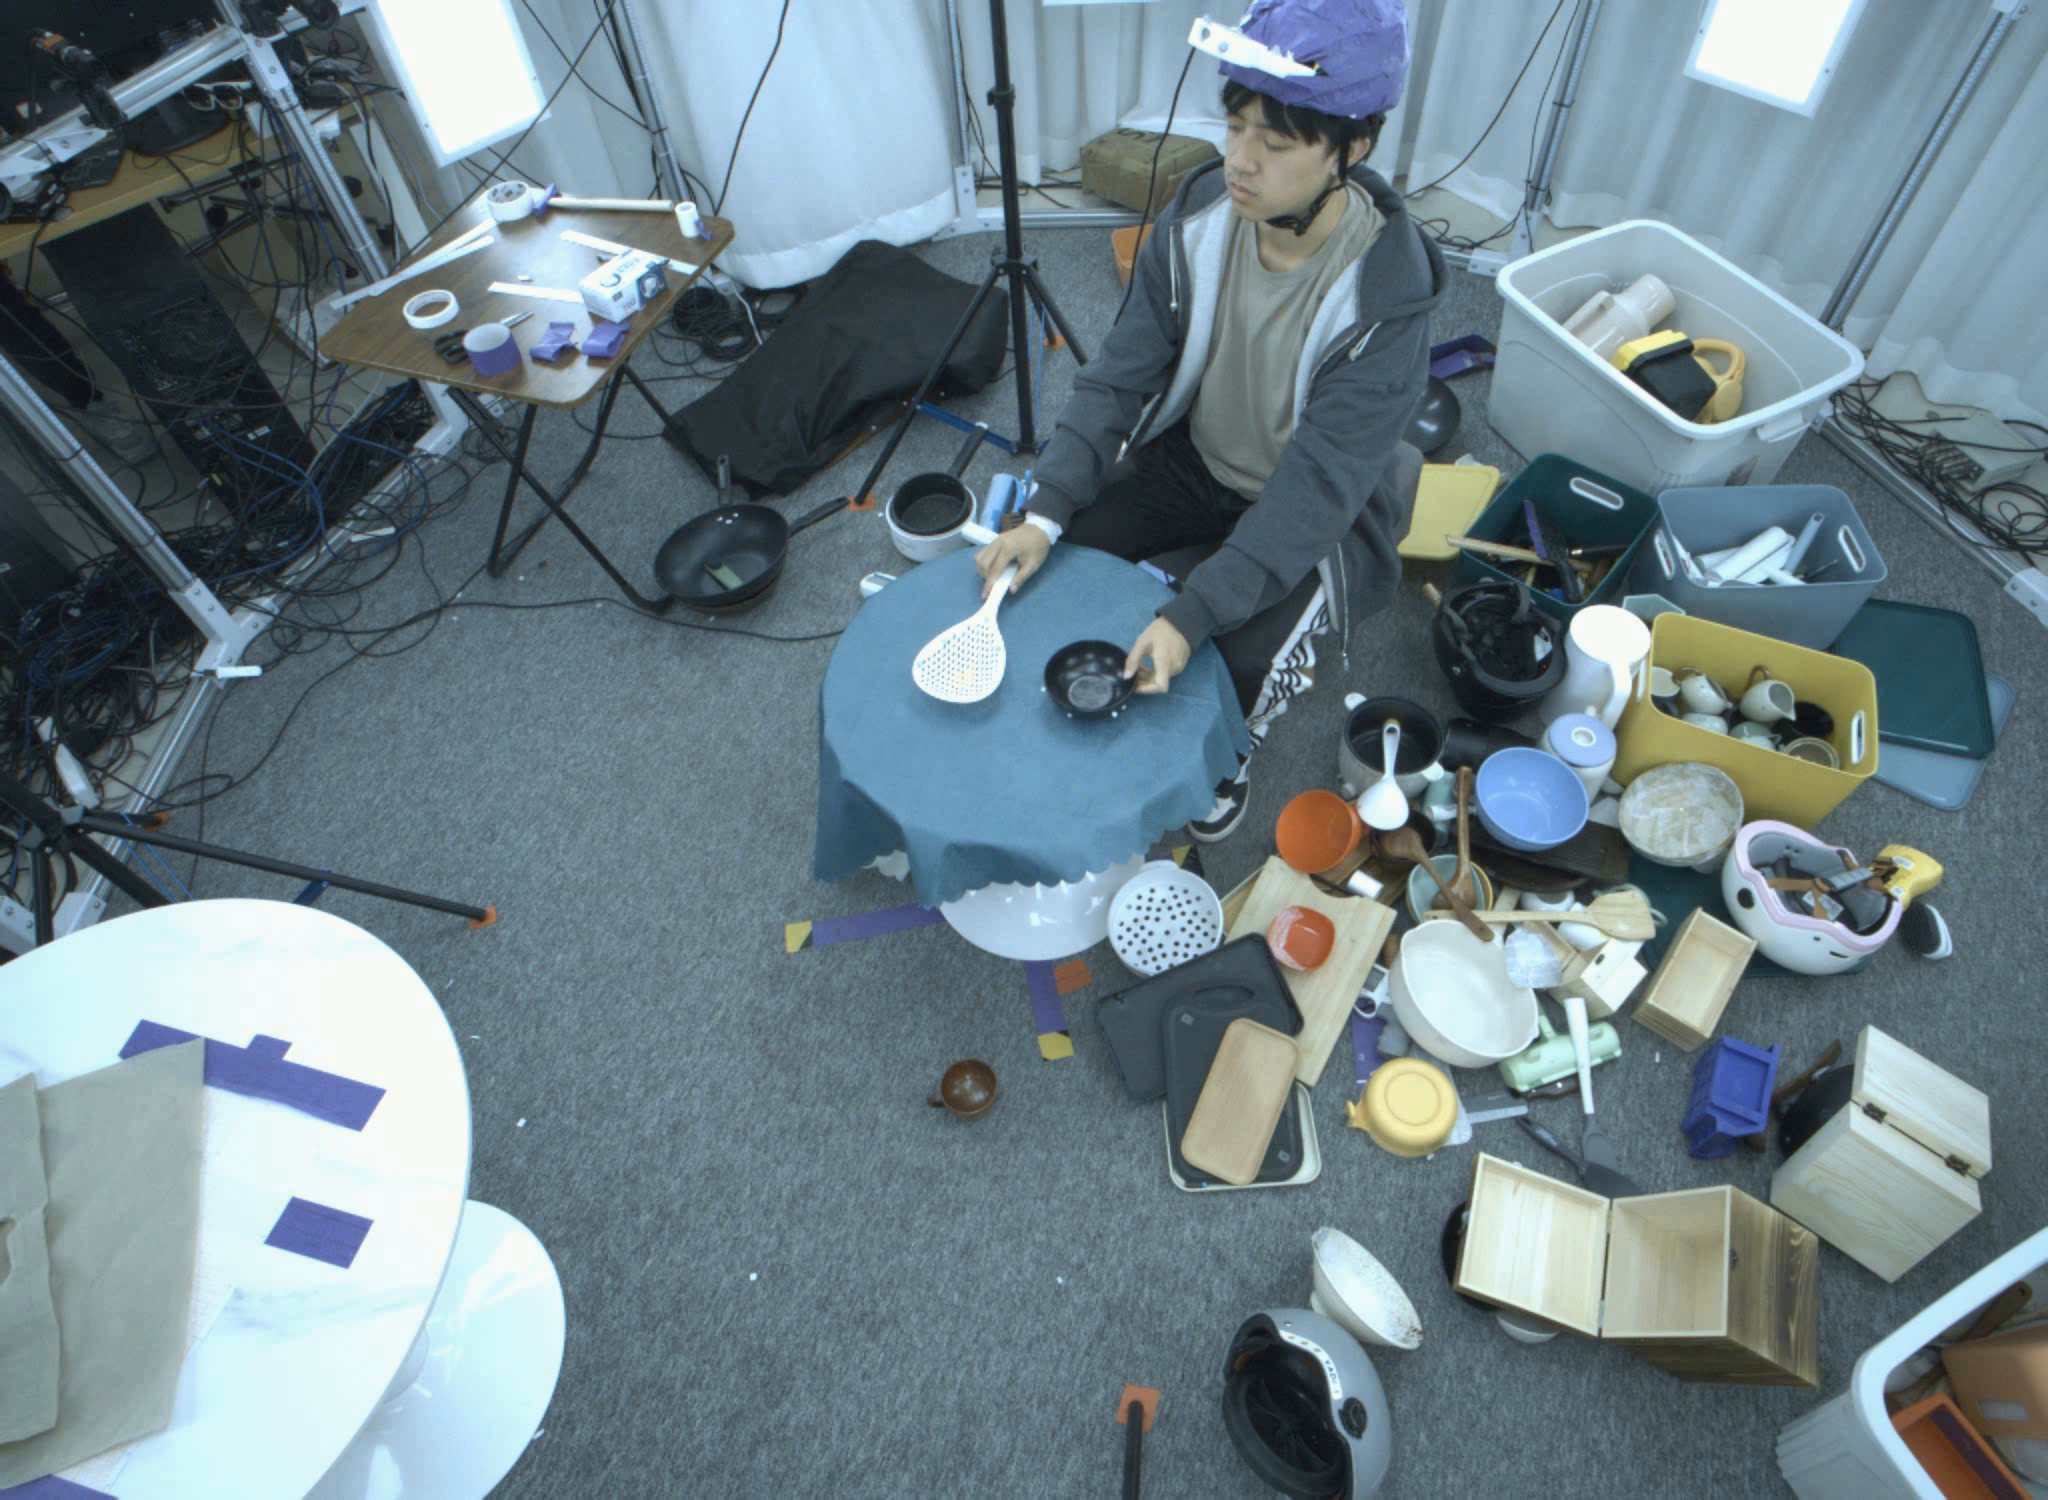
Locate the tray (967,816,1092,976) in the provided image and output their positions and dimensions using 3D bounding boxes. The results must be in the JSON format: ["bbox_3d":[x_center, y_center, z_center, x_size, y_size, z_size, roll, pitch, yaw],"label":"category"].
[{"bbox_3d":[0.007,0.266,2.278,0.192,0.028,0.296,-9,56,-4],"label":"tray"}]

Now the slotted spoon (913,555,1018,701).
[{"bbox_3d":[-0.062,-0.198,1.909,0.135,0.051,0.347,13,56,11],"label":"slotted spoon"}]
